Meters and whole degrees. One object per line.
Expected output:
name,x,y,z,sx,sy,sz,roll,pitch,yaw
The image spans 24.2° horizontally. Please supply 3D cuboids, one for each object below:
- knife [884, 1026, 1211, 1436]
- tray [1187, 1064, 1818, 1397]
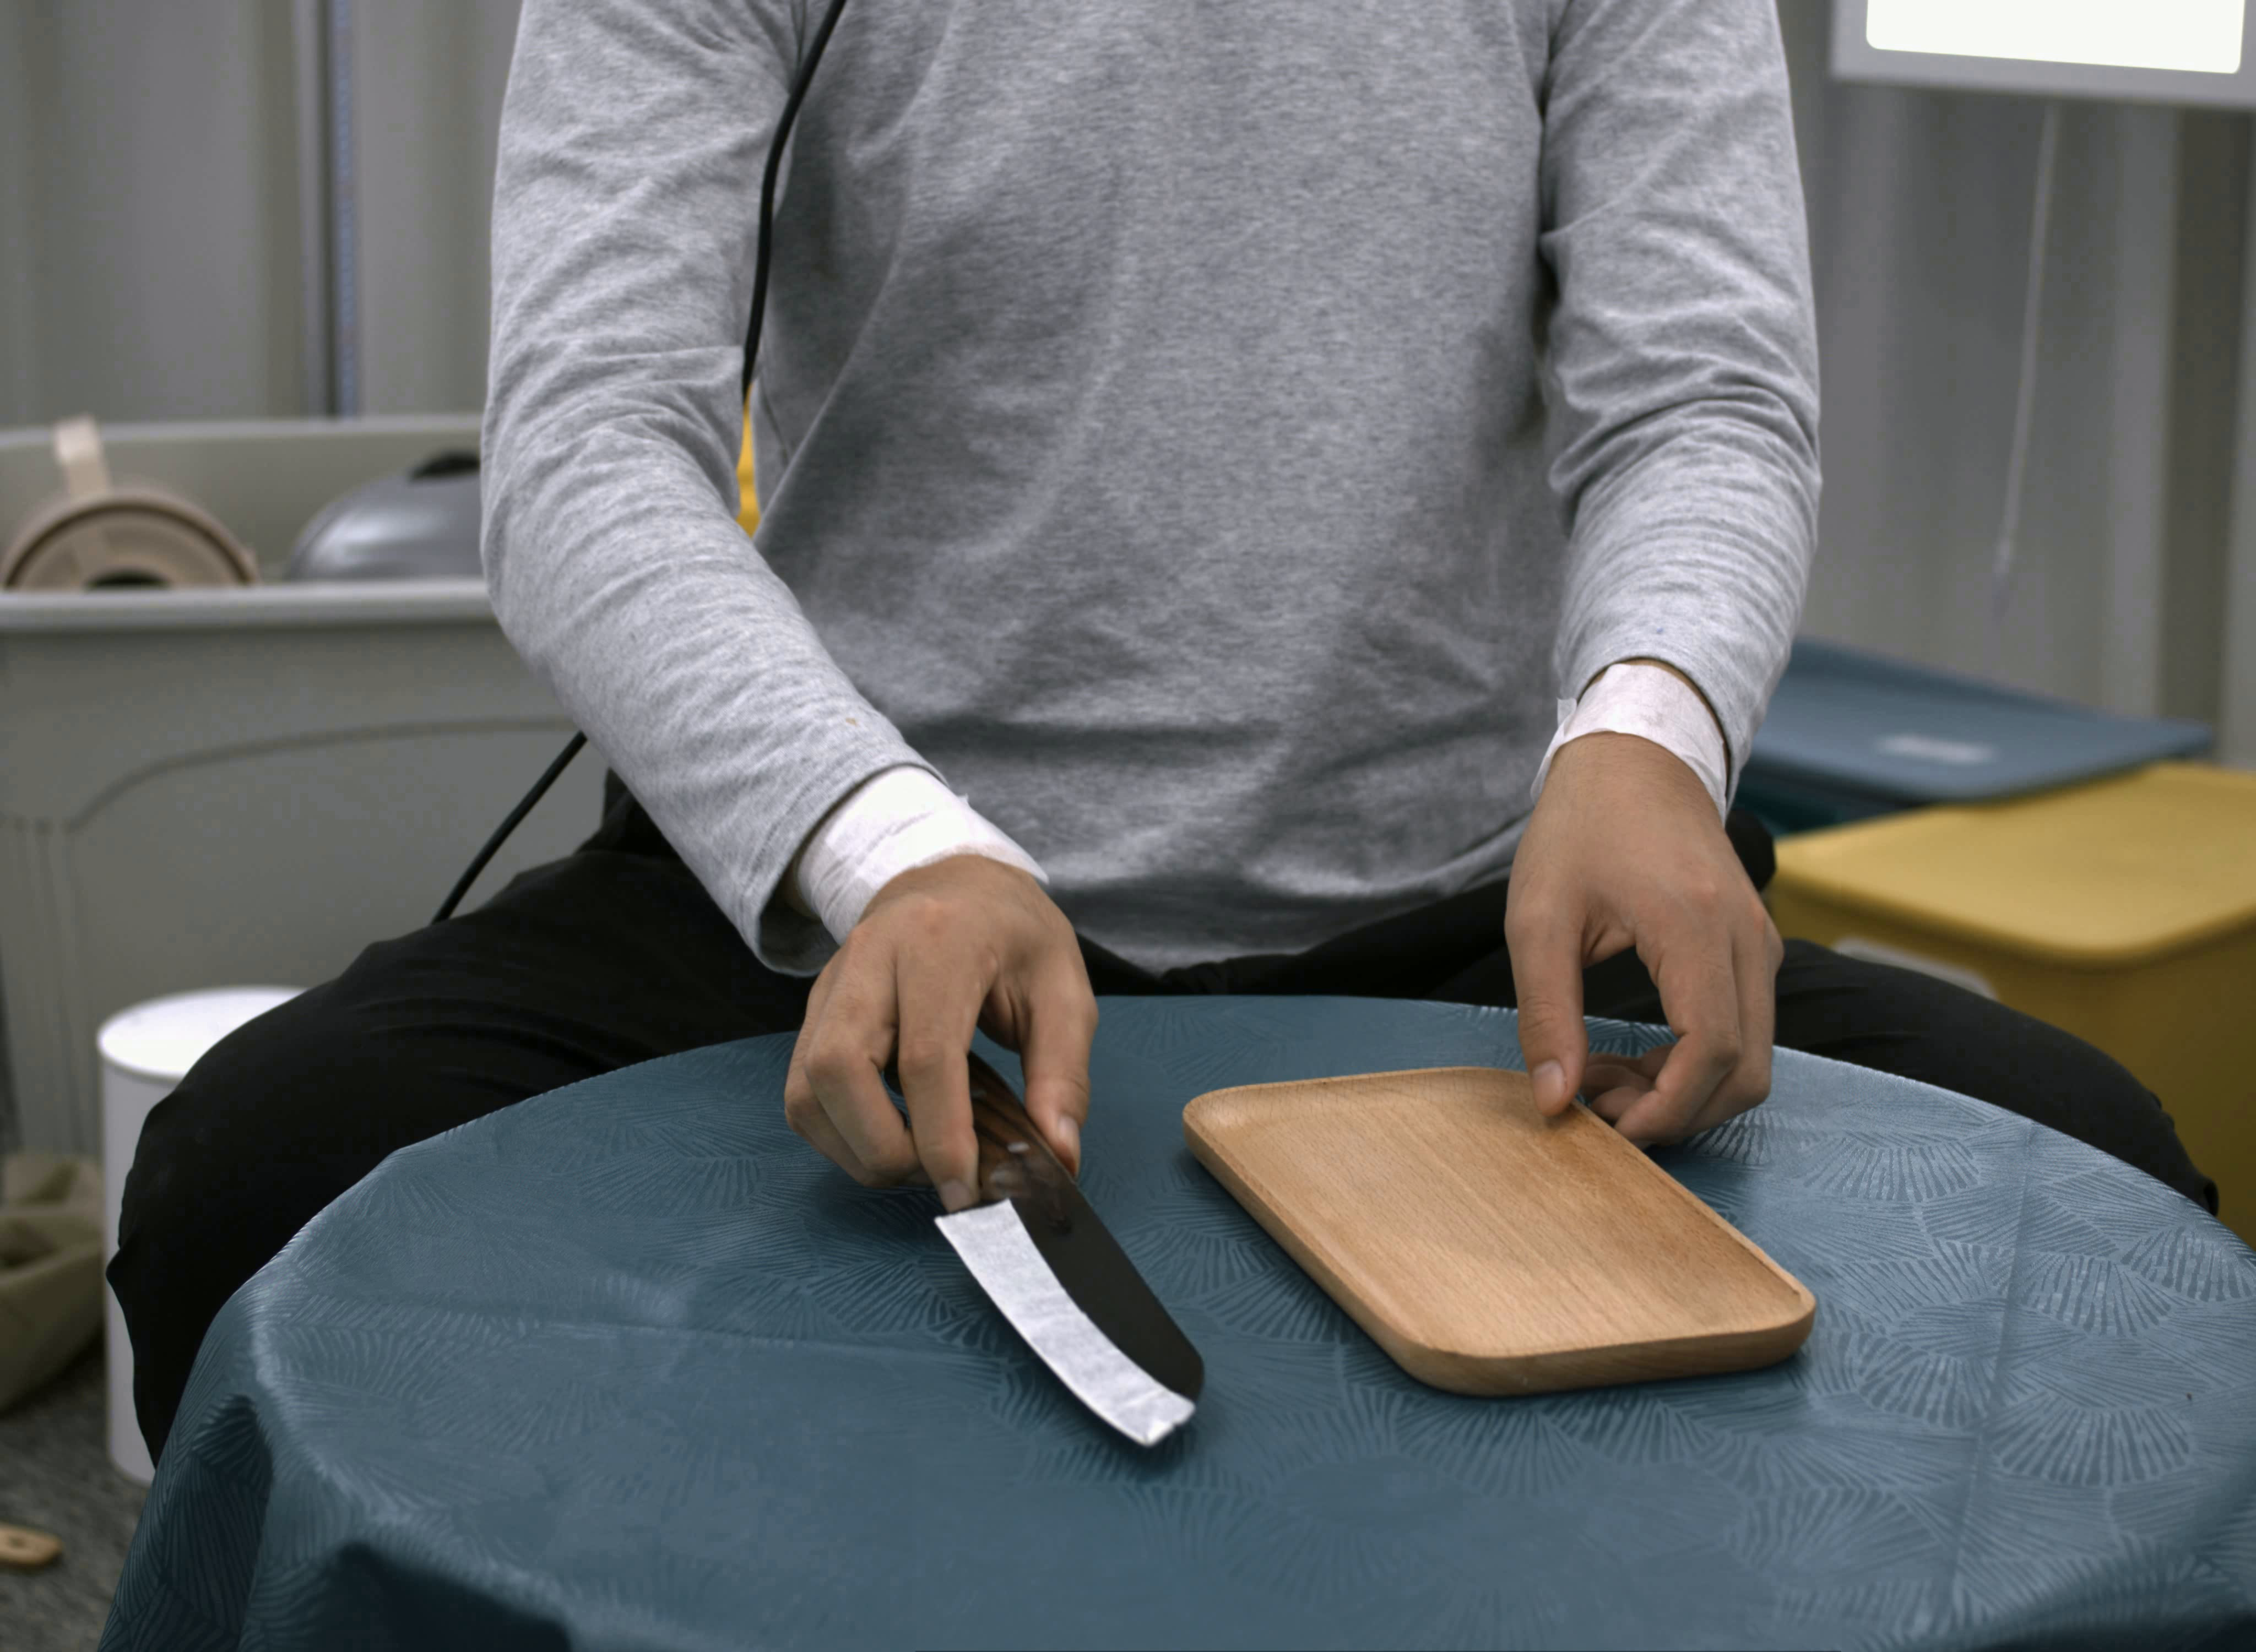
knife,-0.028,0.116,1.530,0.050,0.020,0.286,-13,21,-11
tray,0.107,0.118,1.579,0.131,0.023,0.248,-2,15,-16
